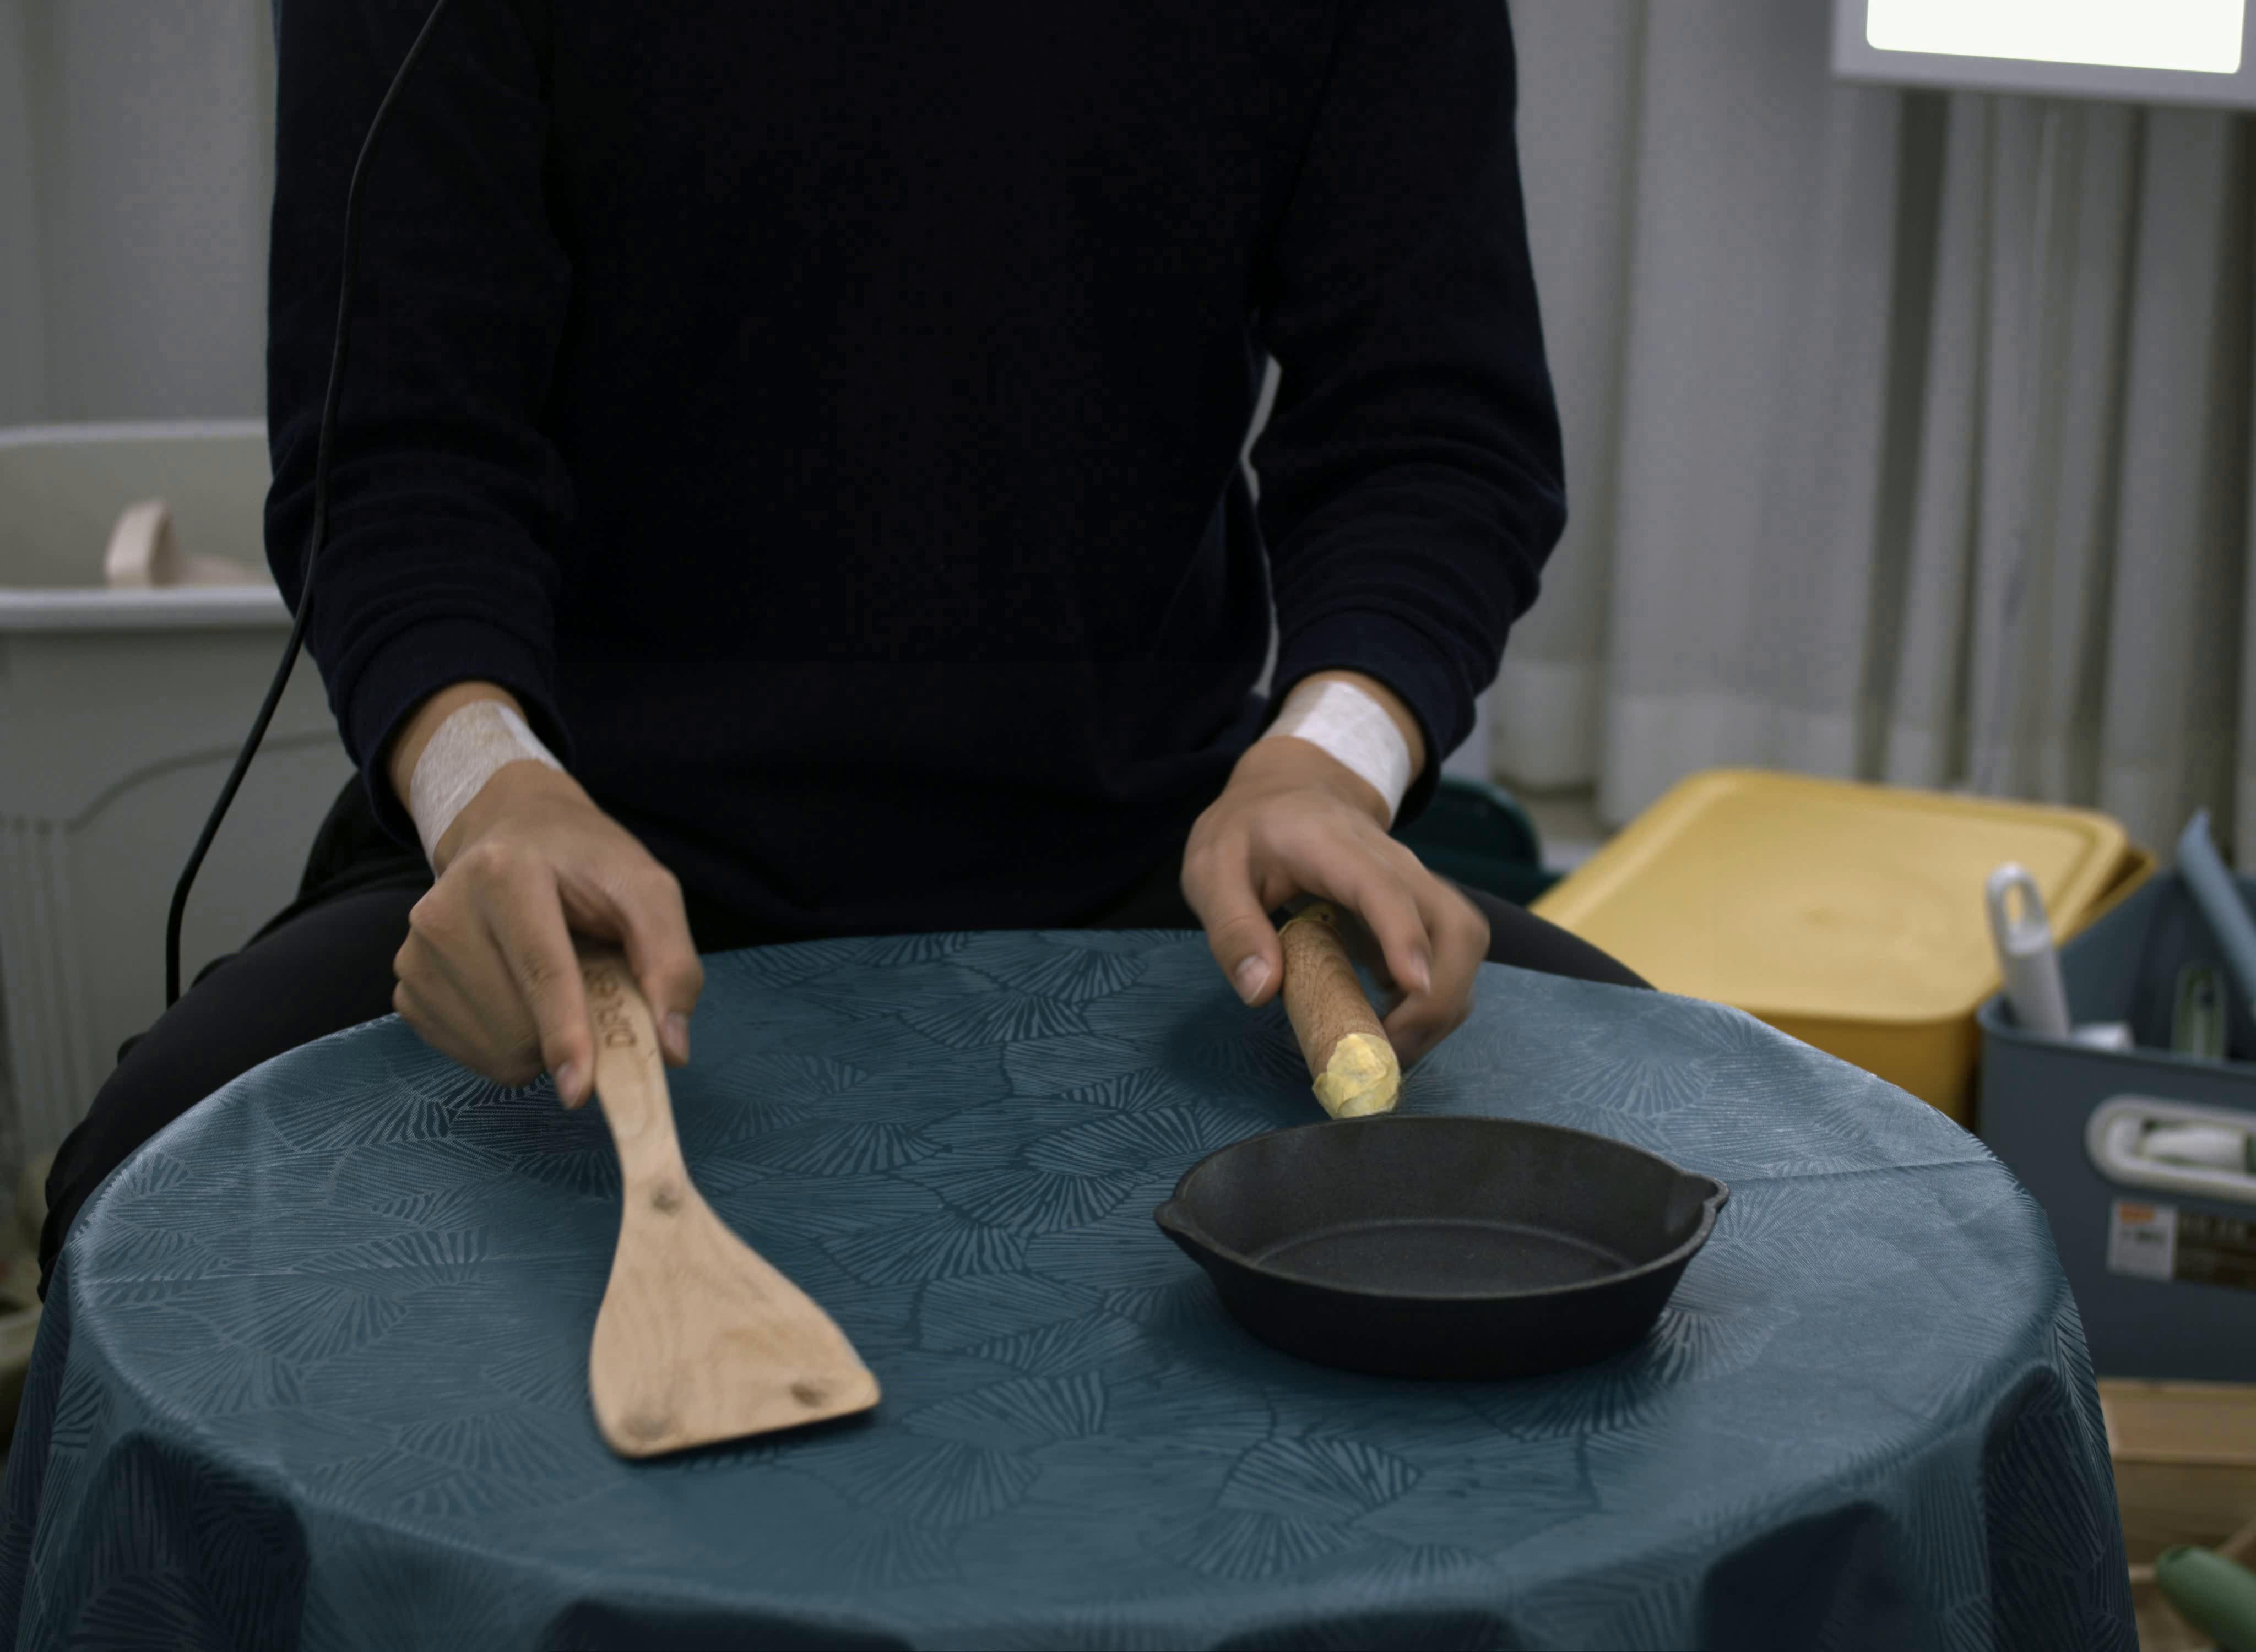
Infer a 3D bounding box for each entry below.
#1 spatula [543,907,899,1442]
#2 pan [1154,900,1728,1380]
[{"bbox_3d":[-0.136,0.096,1.553,0.080,0.017,0.324,-2,27,-15],"label":"spatula"},{"bbox_3d":[0.080,0.092,1.604,0.169,0.050,0.321,-2,17,-7],"label":"pan"}]
